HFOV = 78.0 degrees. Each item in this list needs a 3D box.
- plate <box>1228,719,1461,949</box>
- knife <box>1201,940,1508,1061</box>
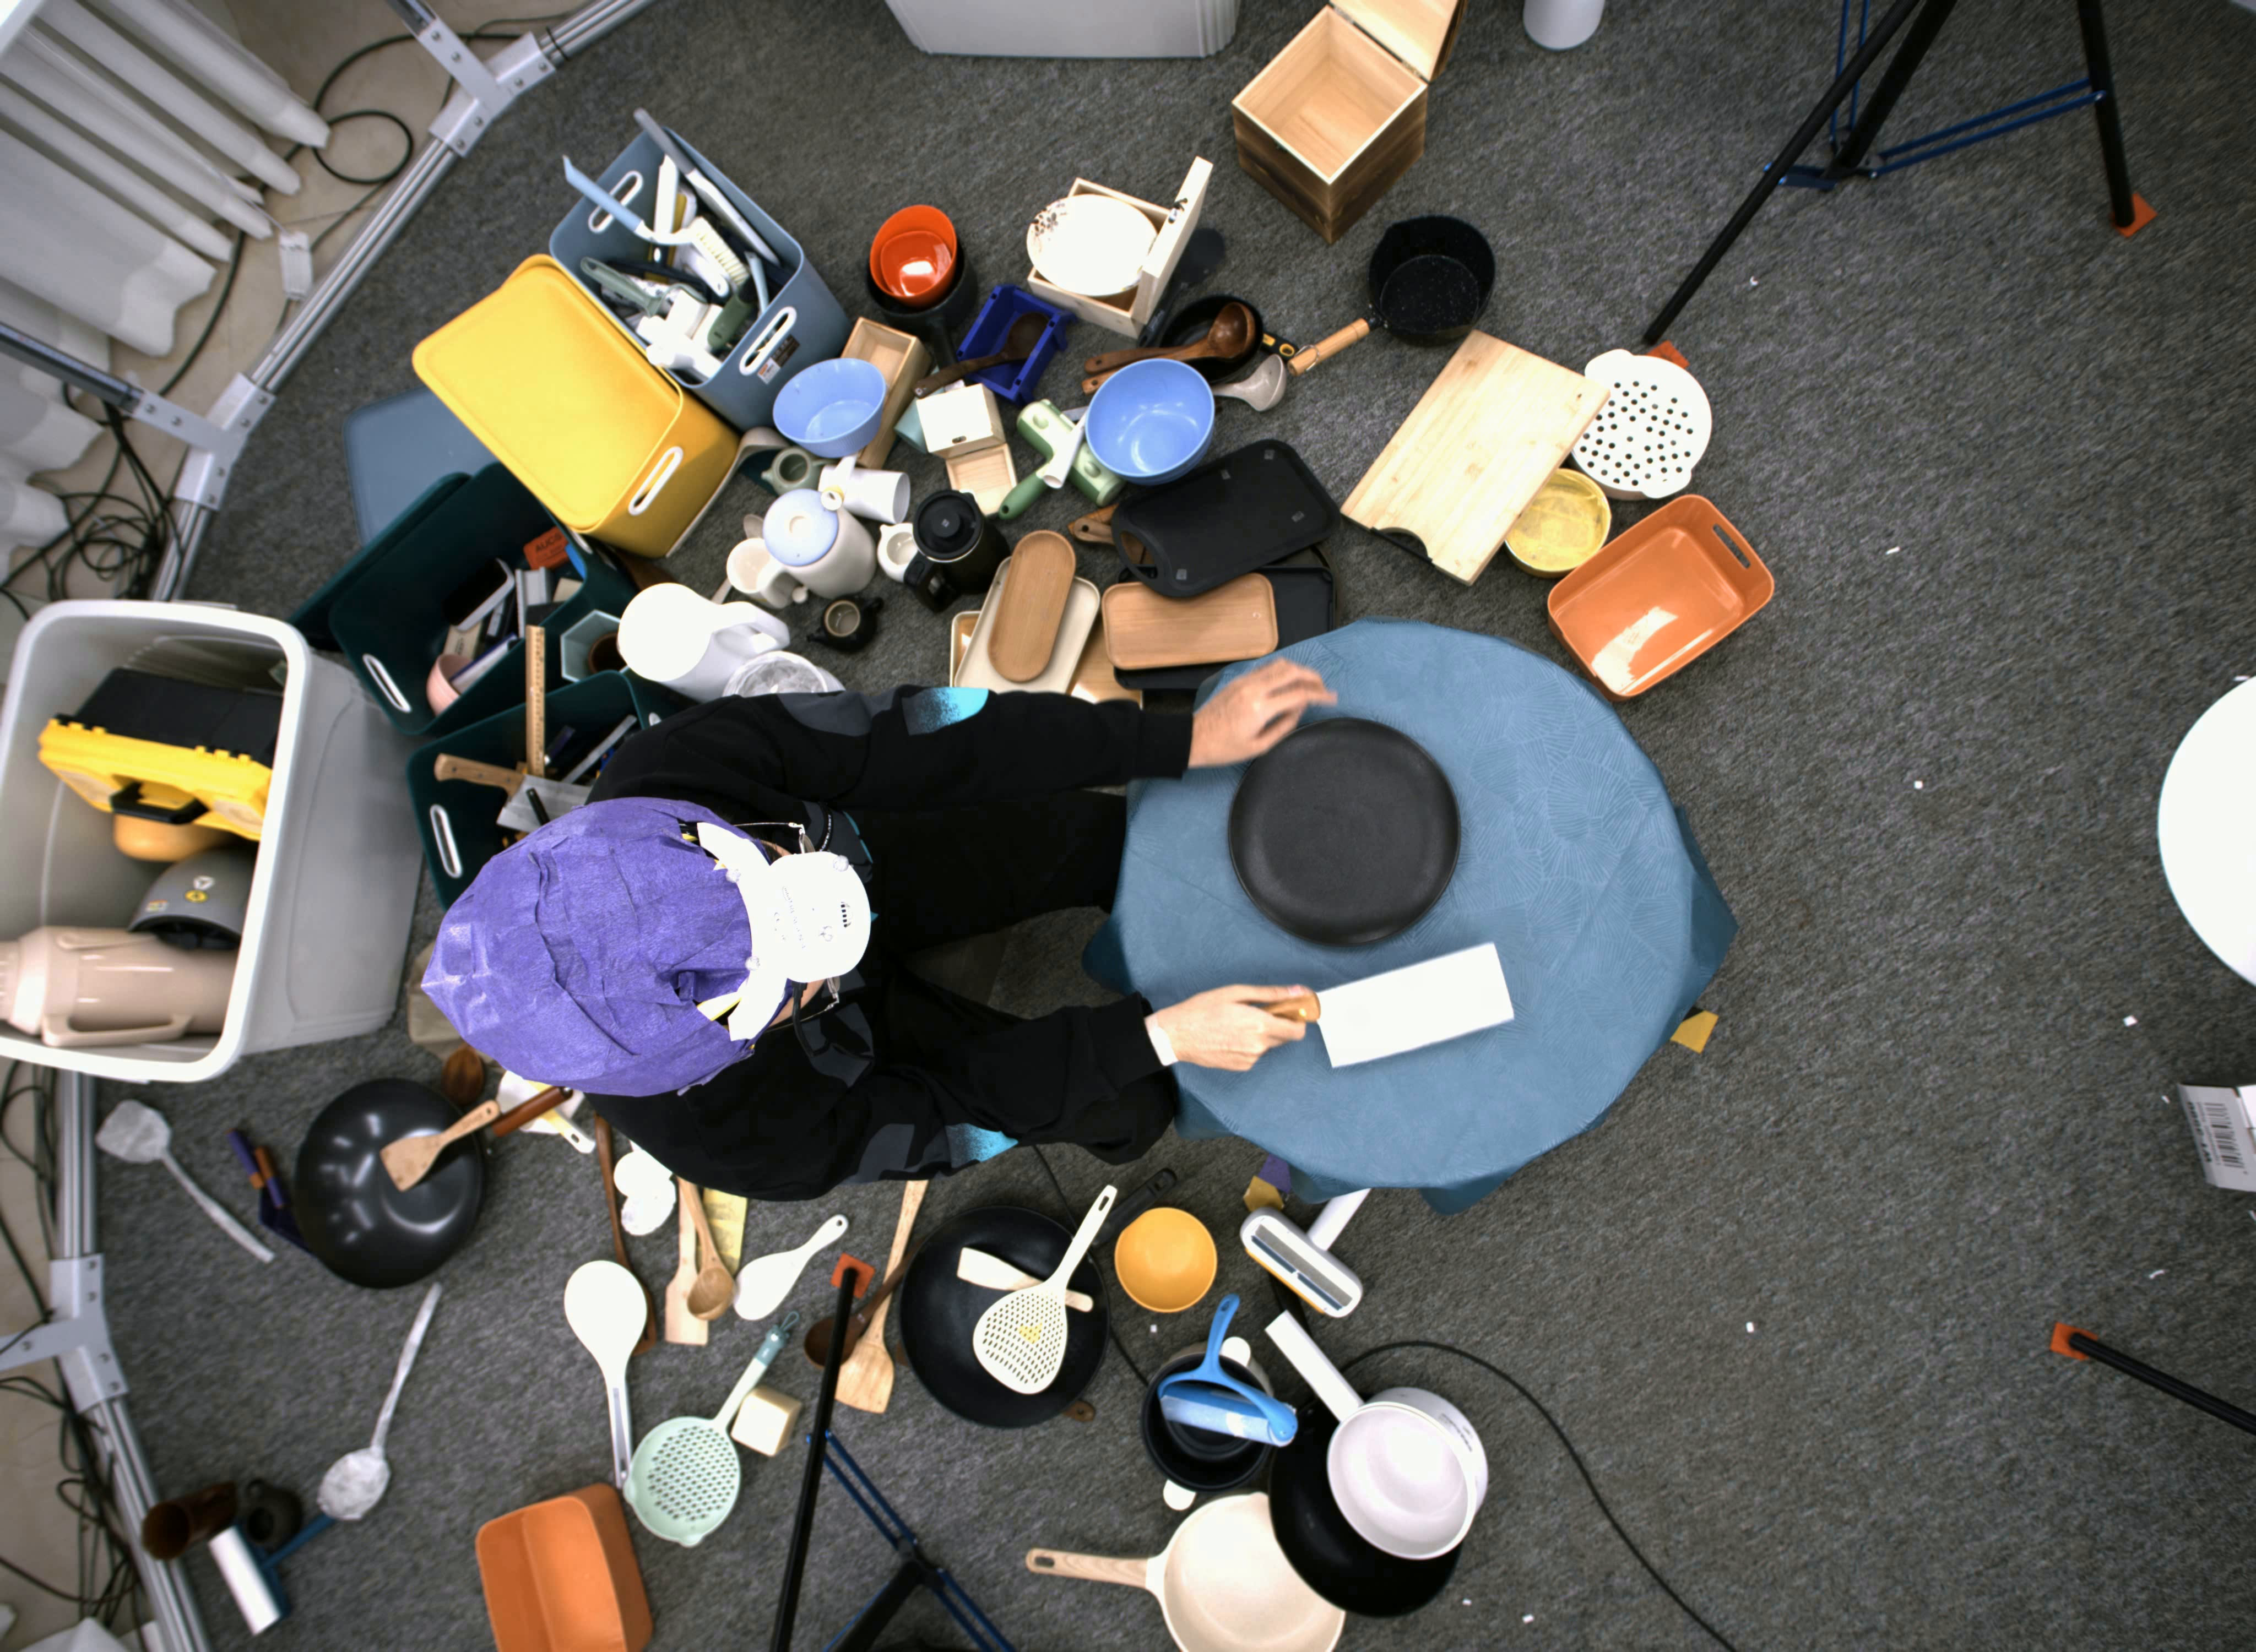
[{"bbox_3d":[0.228,0.007,1.459,0.245,0.023,0.243,-1,87,10],"label":"plate"},{"bbox_3d":[0.229,0.191,1.398,0.308,0.020,0.094,-18,115,13],"label":"knife"}]
